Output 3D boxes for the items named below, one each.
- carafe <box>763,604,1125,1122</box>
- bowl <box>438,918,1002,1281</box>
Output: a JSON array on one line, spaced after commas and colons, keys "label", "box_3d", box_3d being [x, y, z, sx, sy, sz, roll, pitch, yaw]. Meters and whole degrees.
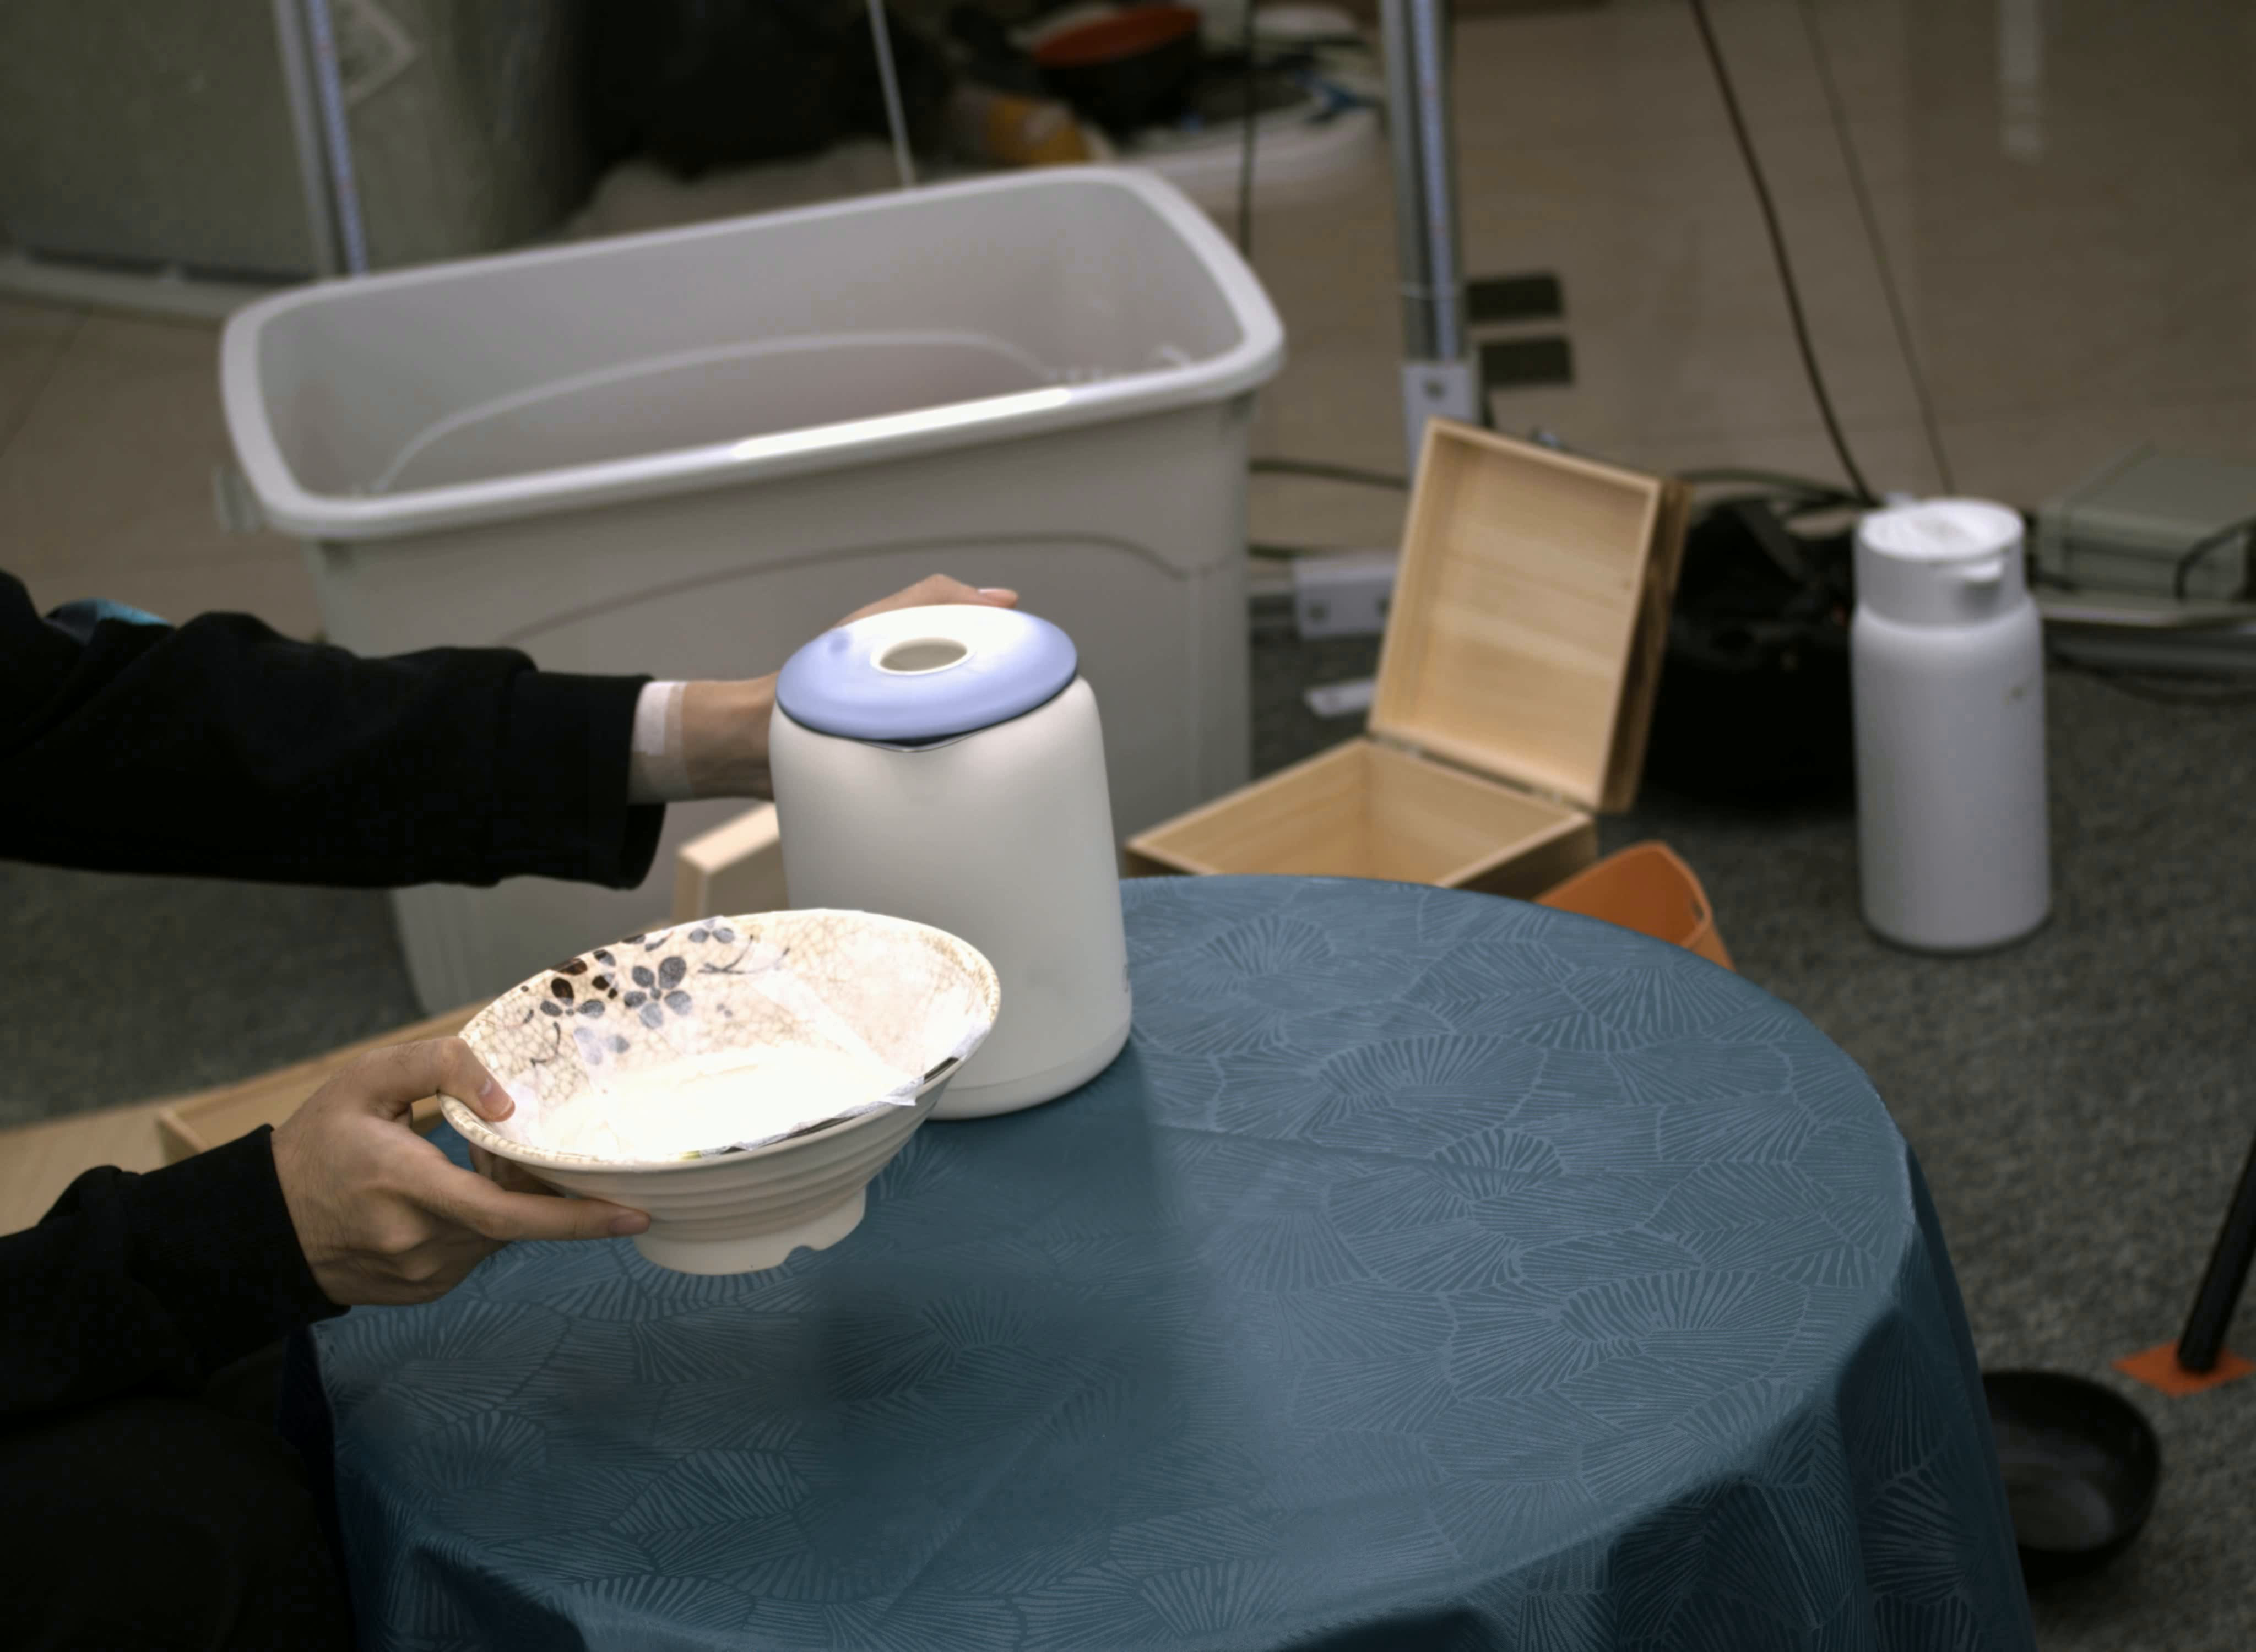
[{"label": "carafe", "box_3d": [-0.072, 0.004, 2.246, 0.132, 0.185, 0.188, -5, 23, 1]}, {"label": "bowl", "box_3d": [-0.138, 0.108, 2.018, 0.204, 0.079, 0.201, -10, 22, 4]}]
